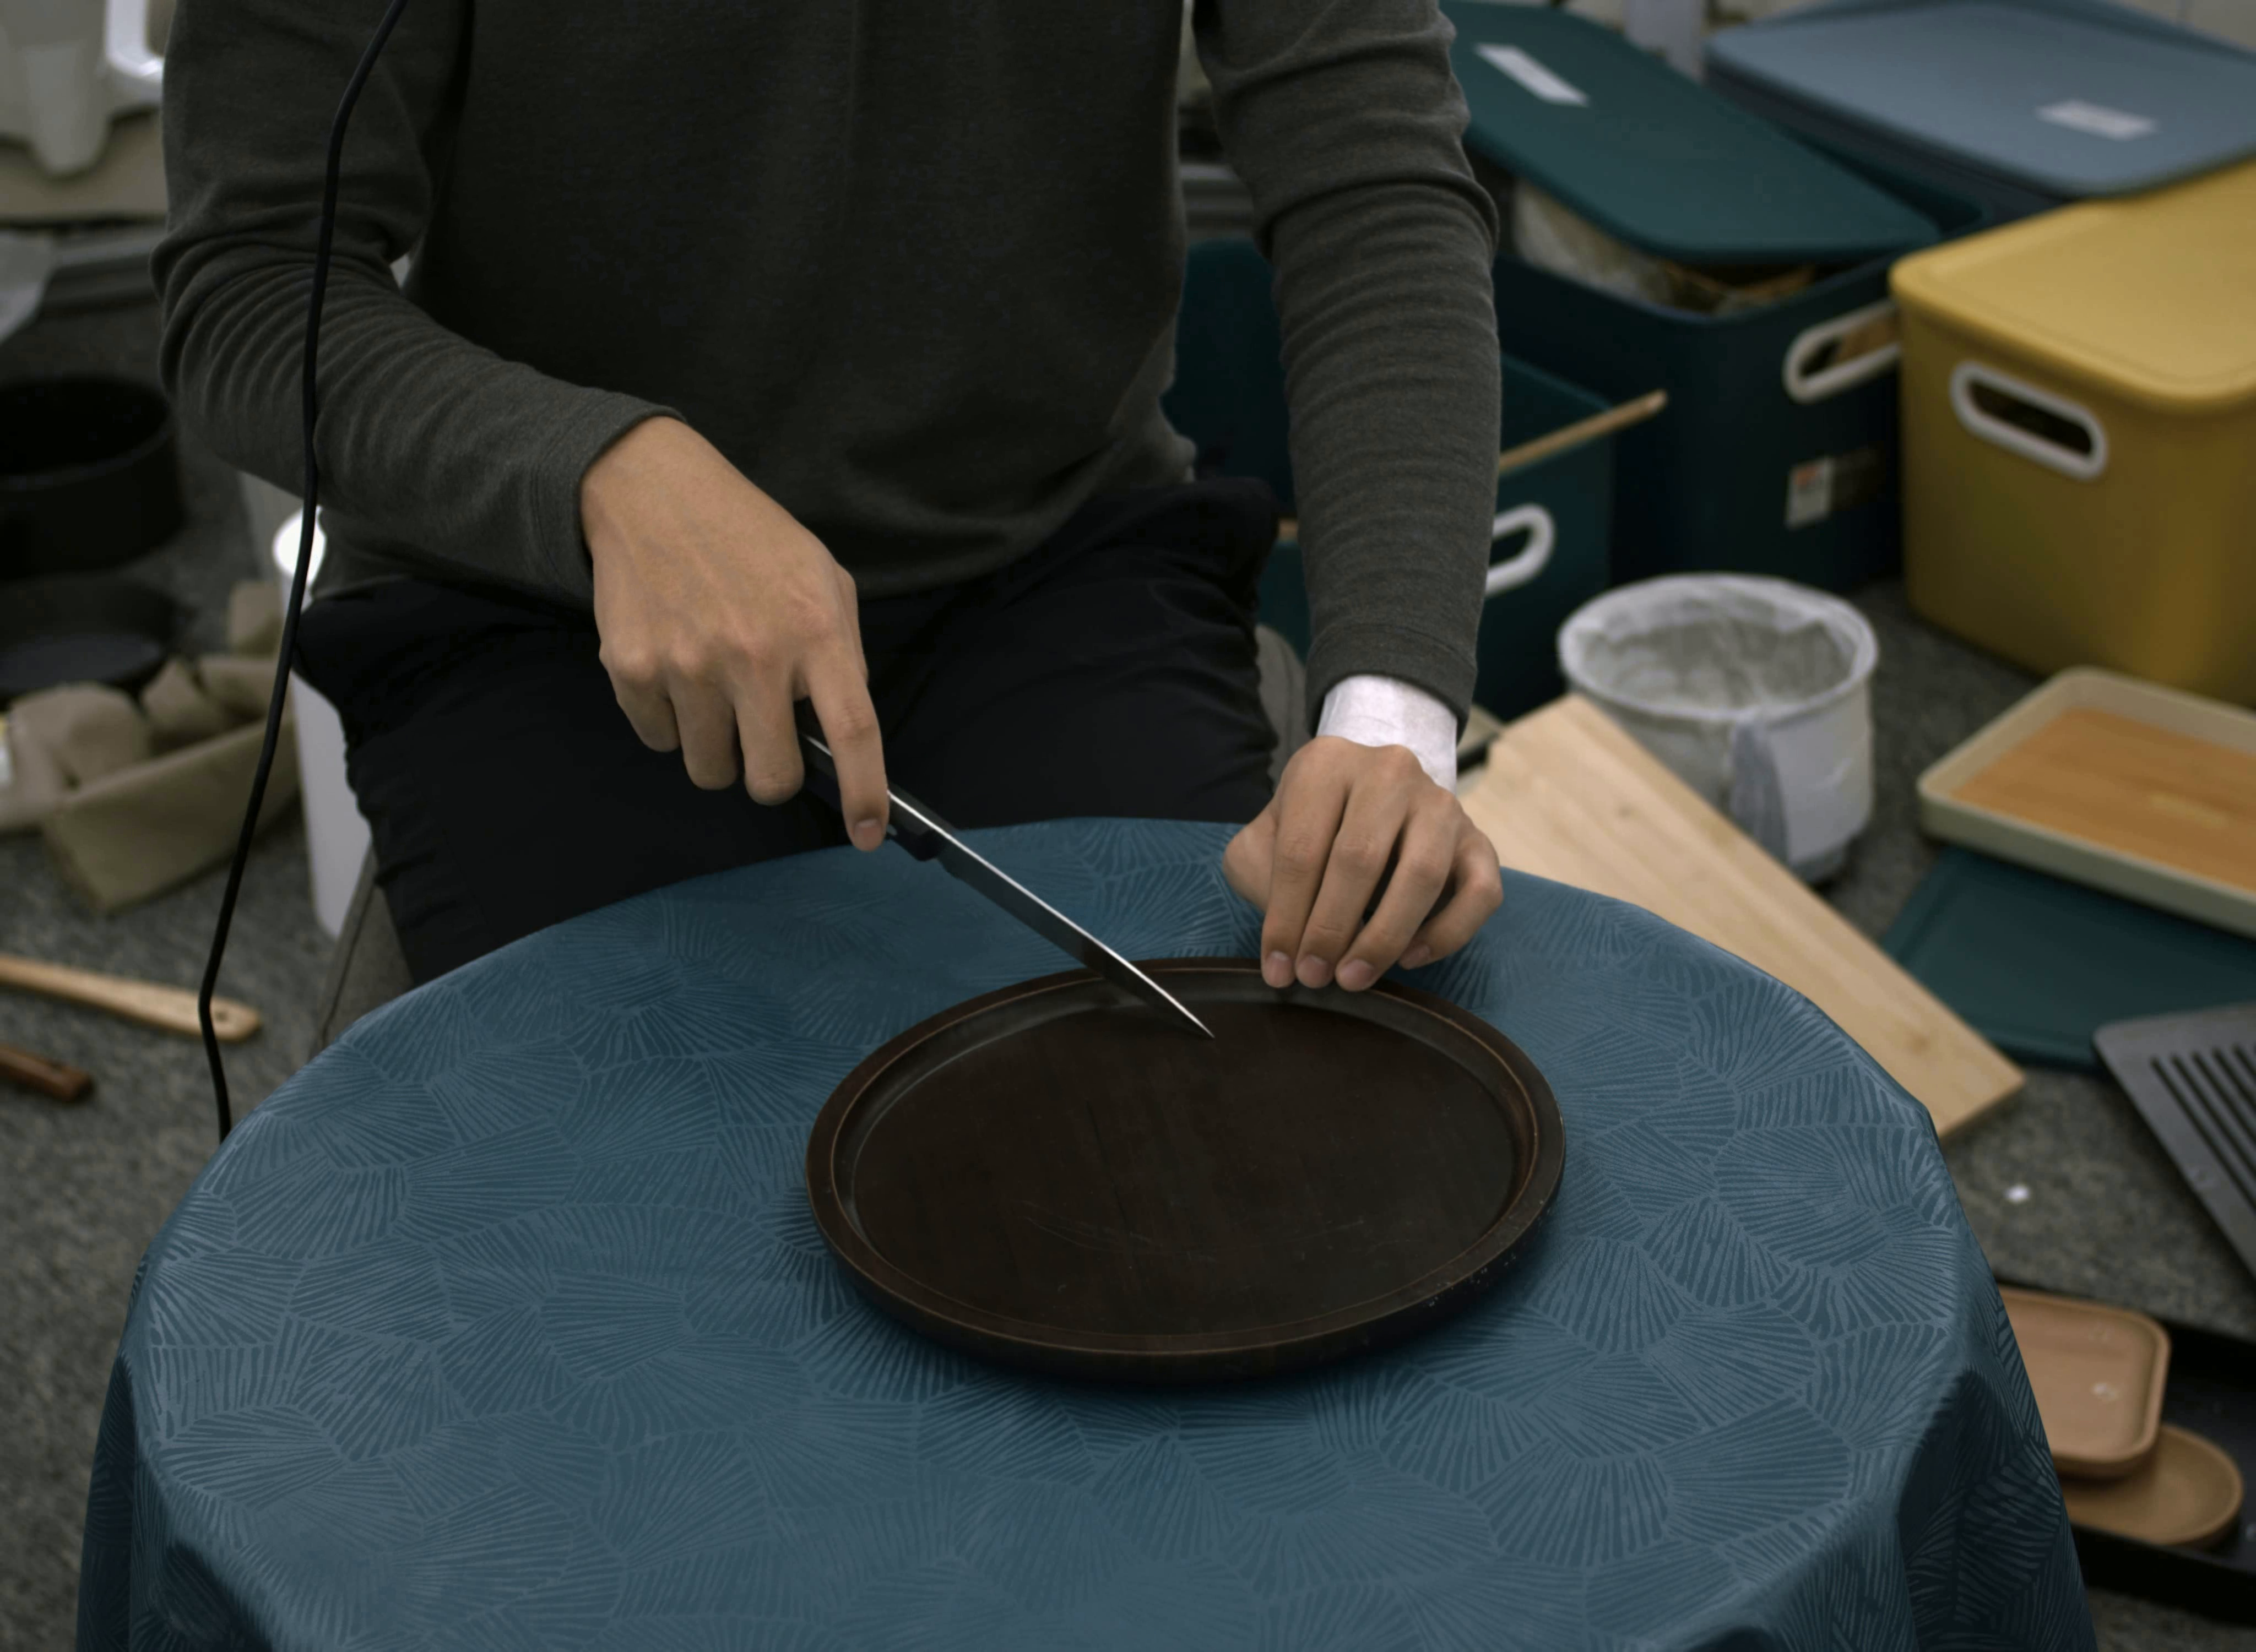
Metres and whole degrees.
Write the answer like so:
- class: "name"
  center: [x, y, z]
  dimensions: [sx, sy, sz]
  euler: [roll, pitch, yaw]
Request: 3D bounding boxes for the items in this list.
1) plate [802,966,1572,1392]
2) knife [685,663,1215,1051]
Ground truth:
- class: "plate"
  center: [0.020, 0.114, 1.851]
  dimensions: [0.253, 0.029, 0.259]
  euler: [-1, 28, 1]
- class: "knife"
  center: [-0.062, 0.010, 1.964]
  dimensions: [0.238, 0.024, 0.016]
  euler: [35, 58, 18]
